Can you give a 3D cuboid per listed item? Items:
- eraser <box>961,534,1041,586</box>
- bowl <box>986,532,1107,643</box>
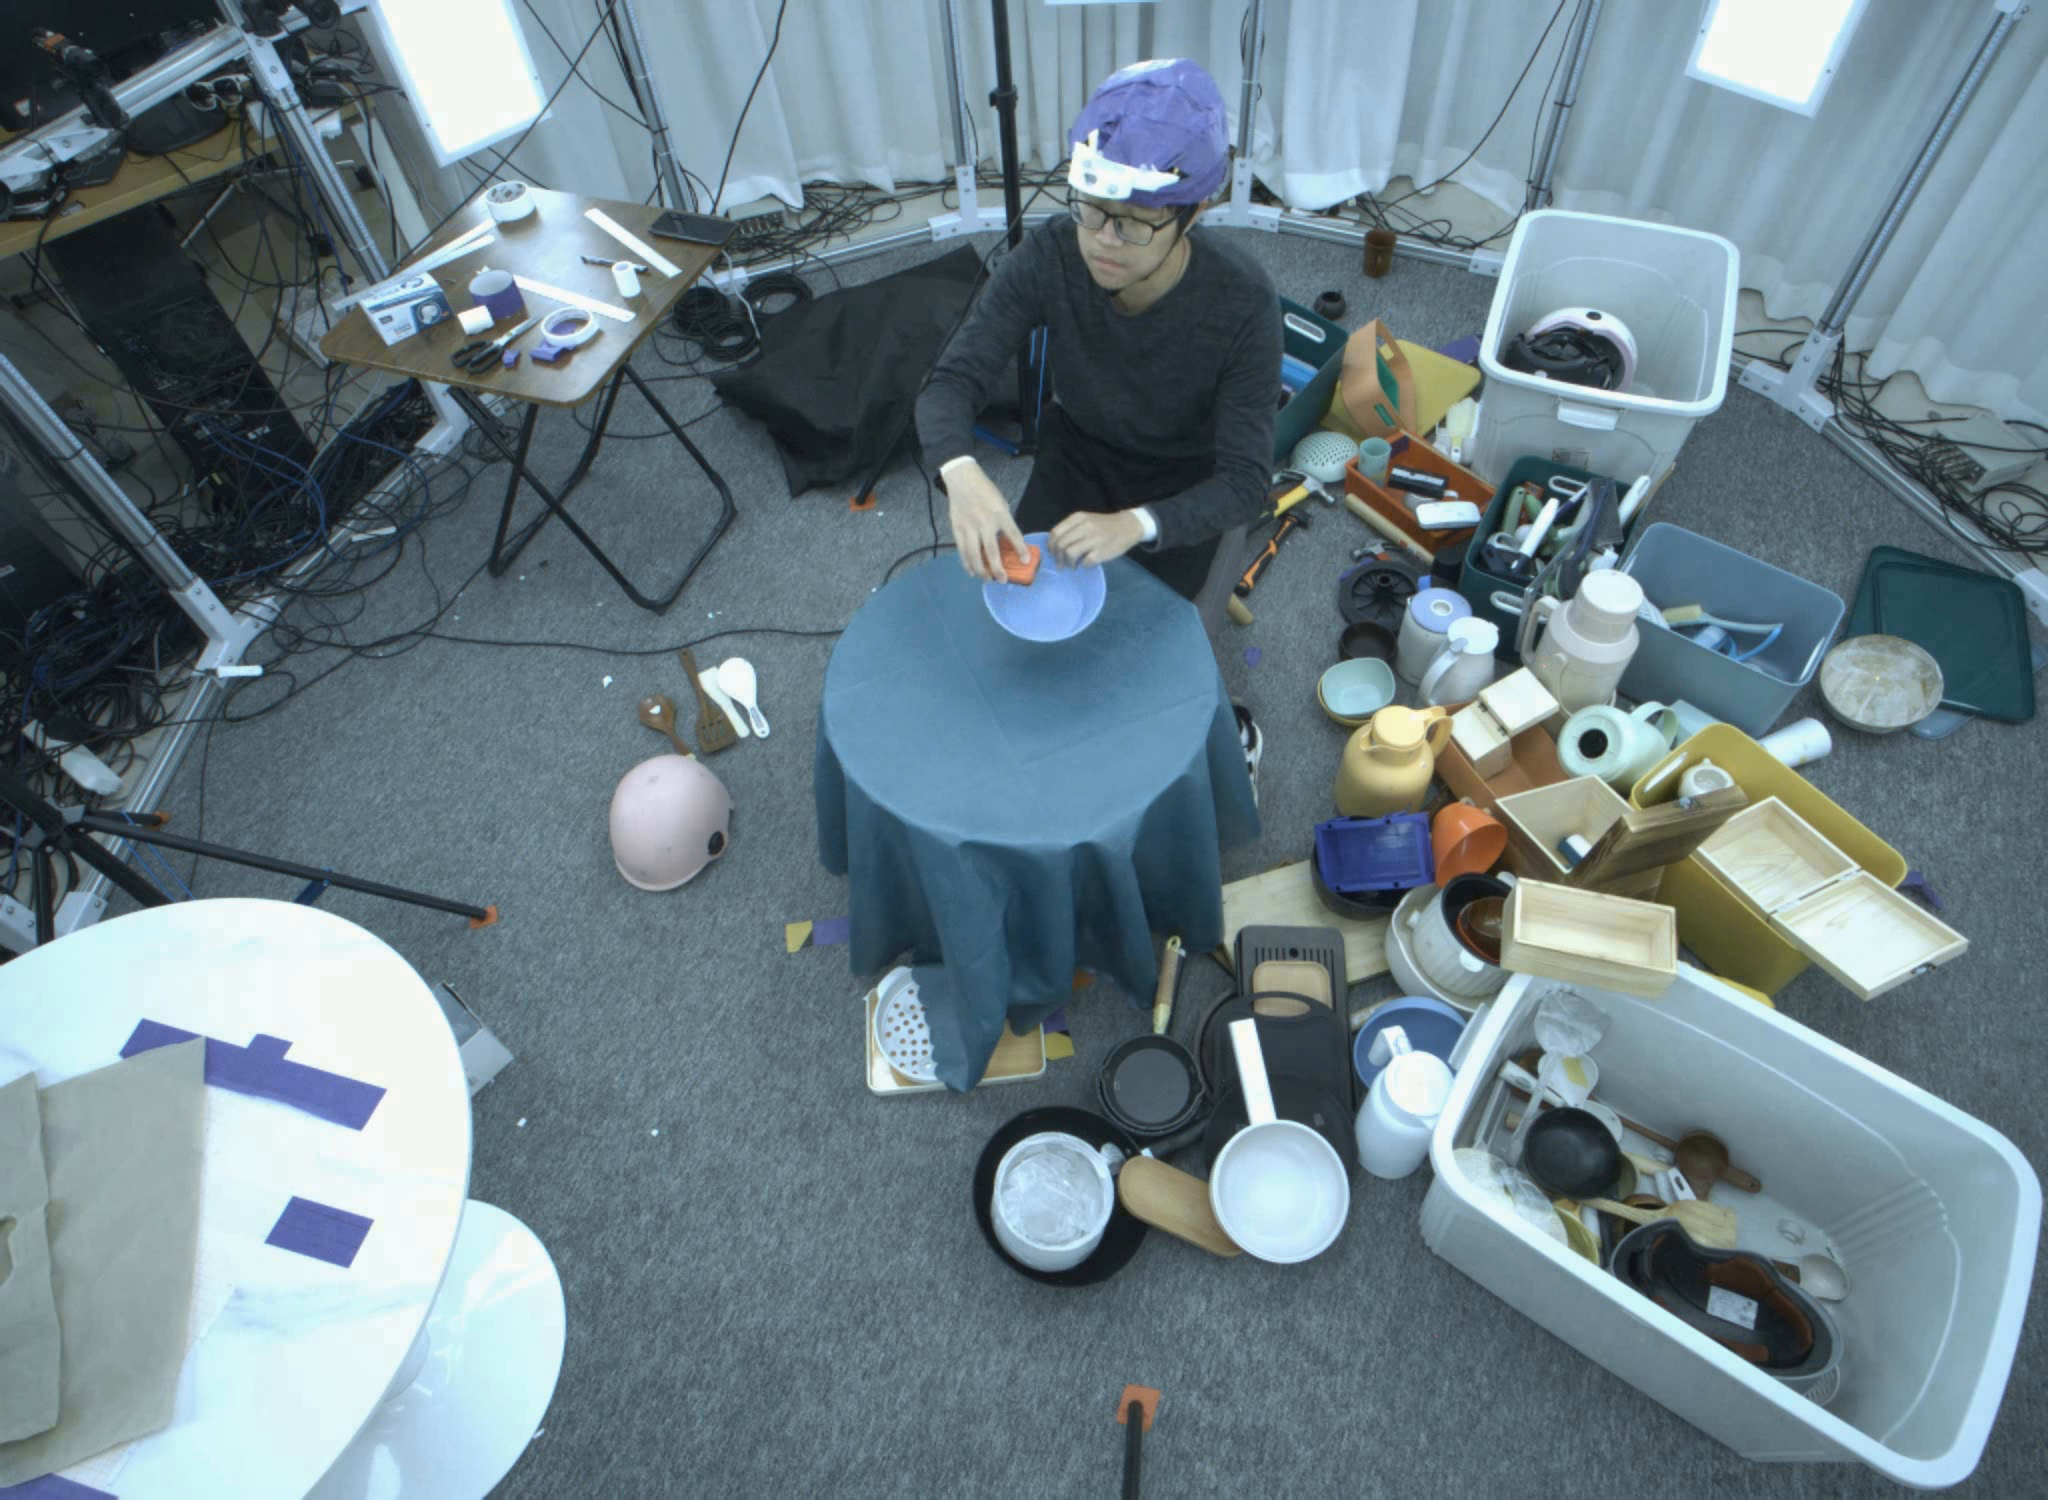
[{"bbox_3d":[-0.034,-0.273,1.757,0.106,0.023,0.059,15,72,22],"label":"eraser"},{"bbox_3d":[0.031,-0.226,1.795,0.176,0.070,0.175,1,73,-3],"label":"bowl"}]
